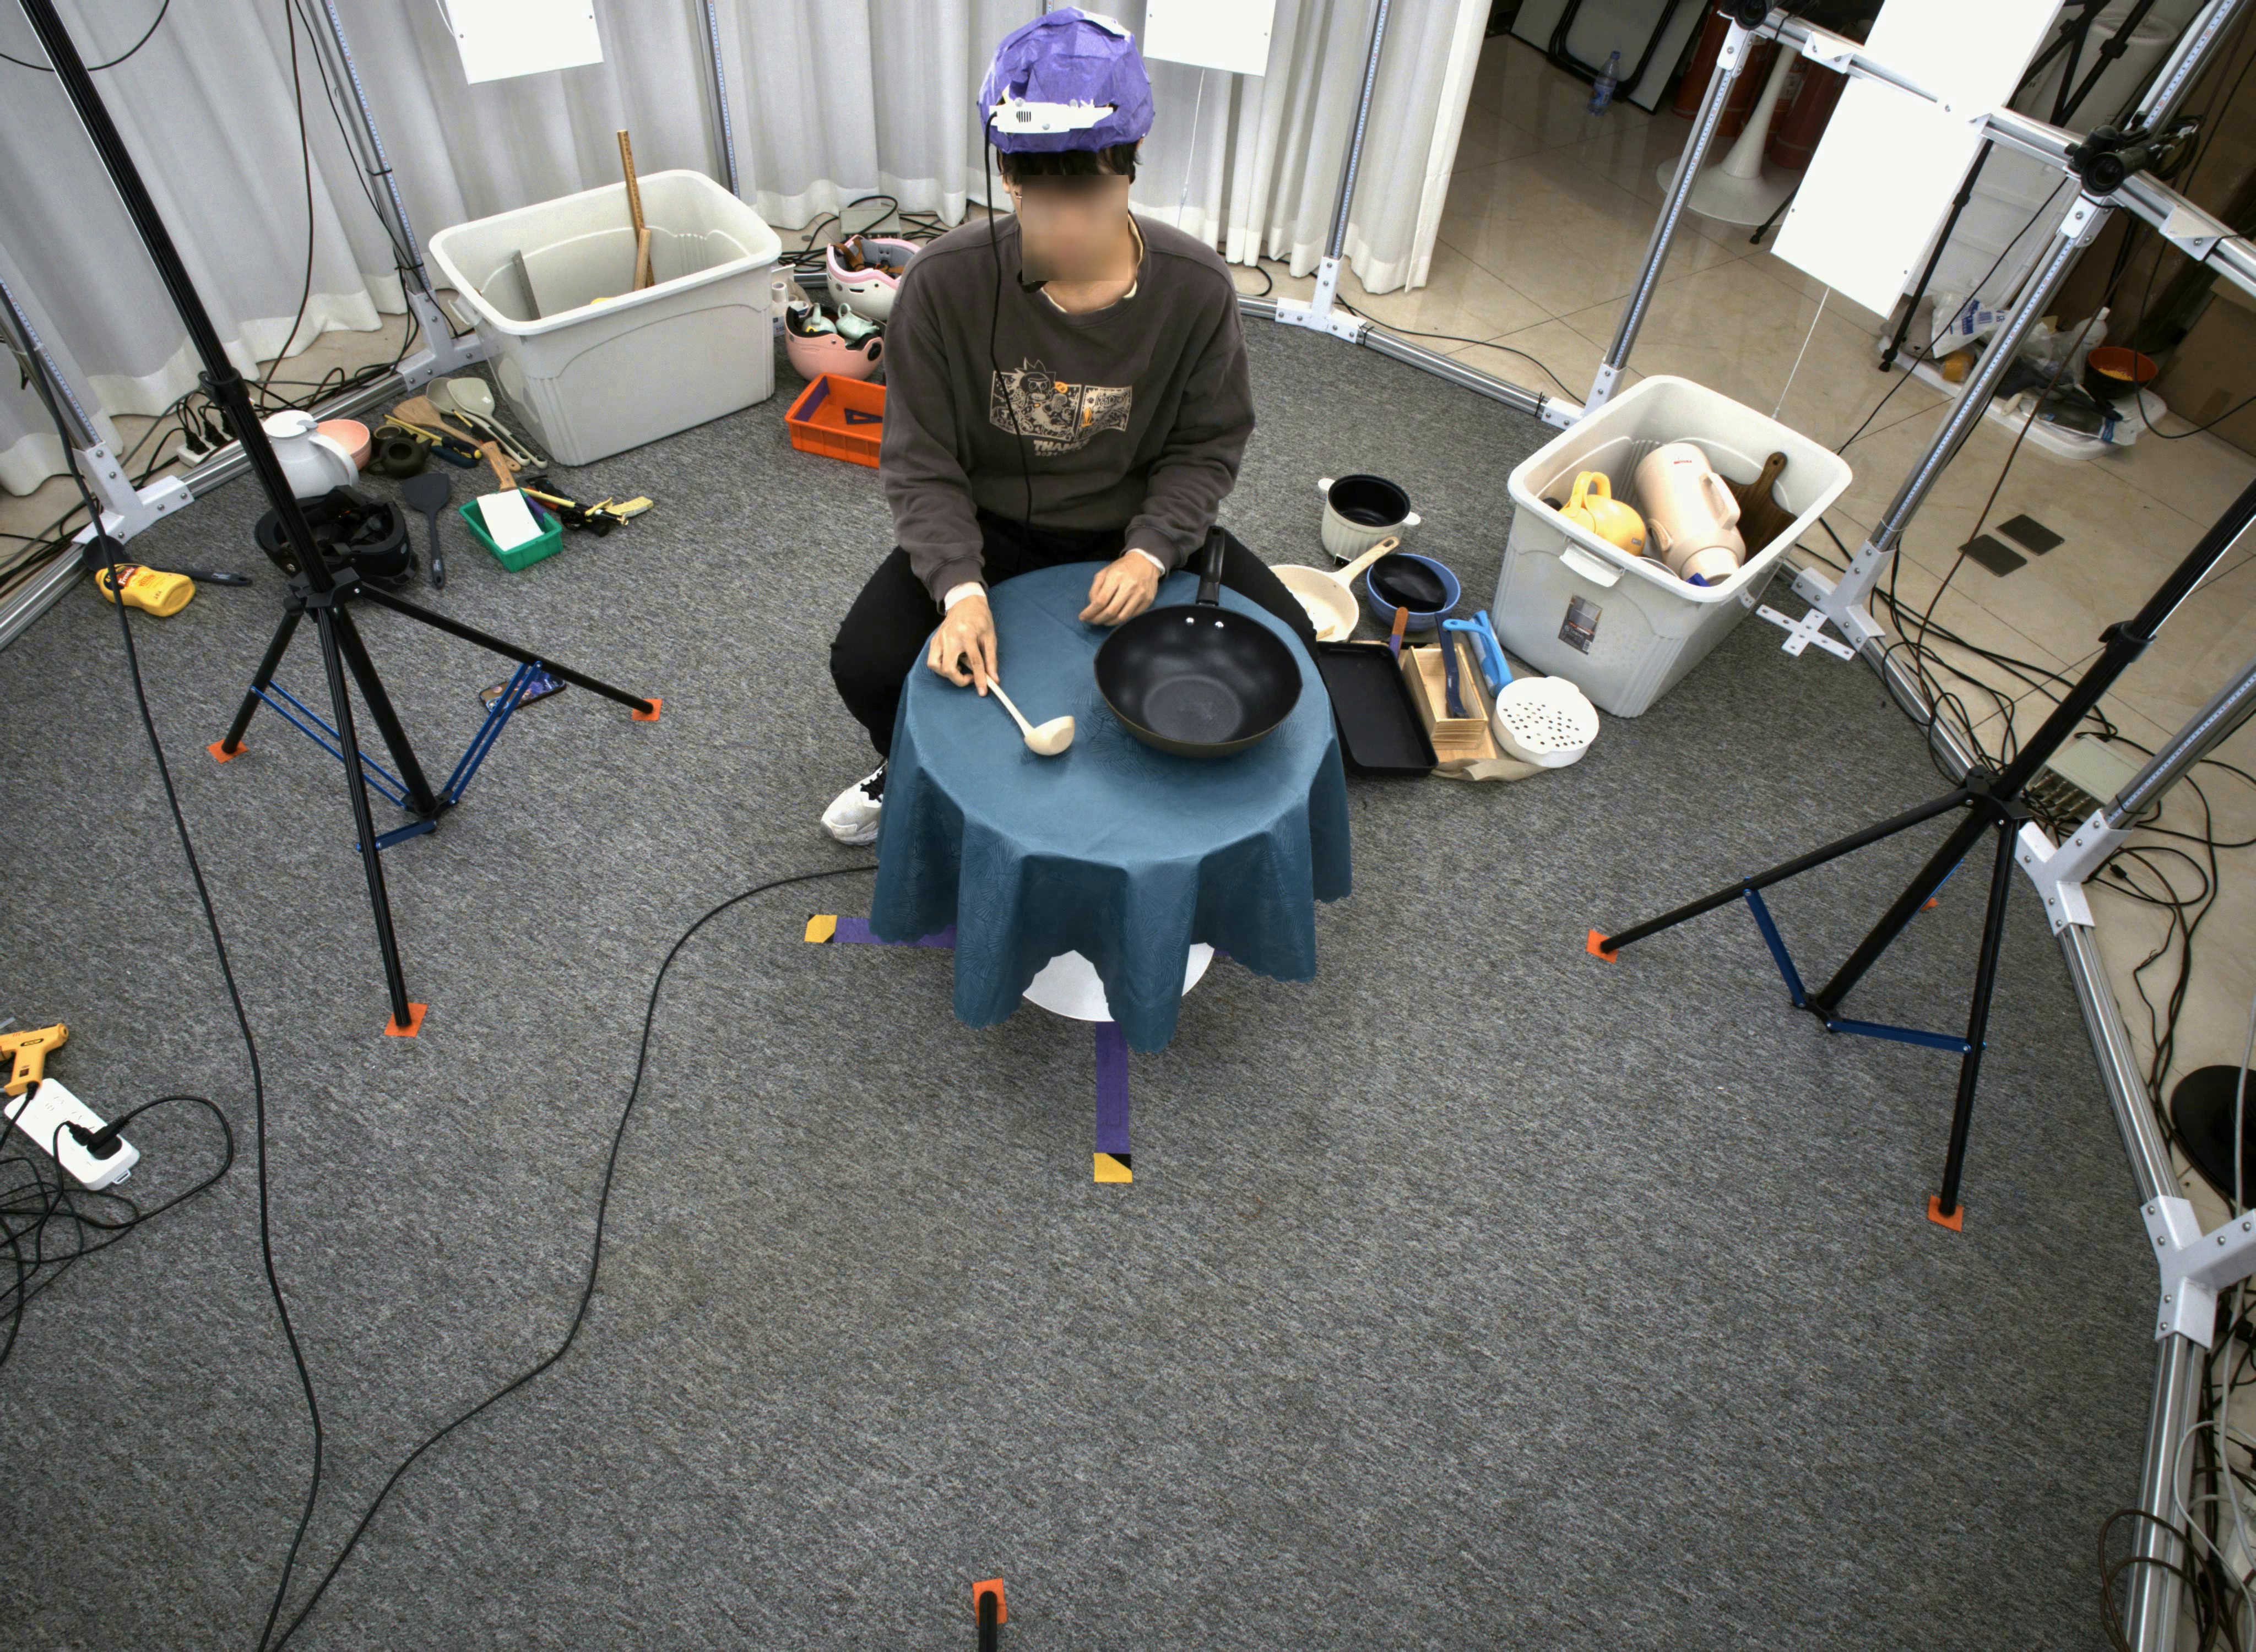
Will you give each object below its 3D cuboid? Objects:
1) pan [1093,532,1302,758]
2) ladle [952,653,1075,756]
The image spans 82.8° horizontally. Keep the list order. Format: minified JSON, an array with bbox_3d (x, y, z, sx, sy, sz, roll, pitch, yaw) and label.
[{"bbox_3d":[0.104,-0.256,1.842,0.288,0.085,0.474,7,48,3],"label":"pan"},{"bbox_3d":[-0.165,-0.192,1.773,0.072,0.071,0.259,-21,54,-34],"label":"ladle"}]
